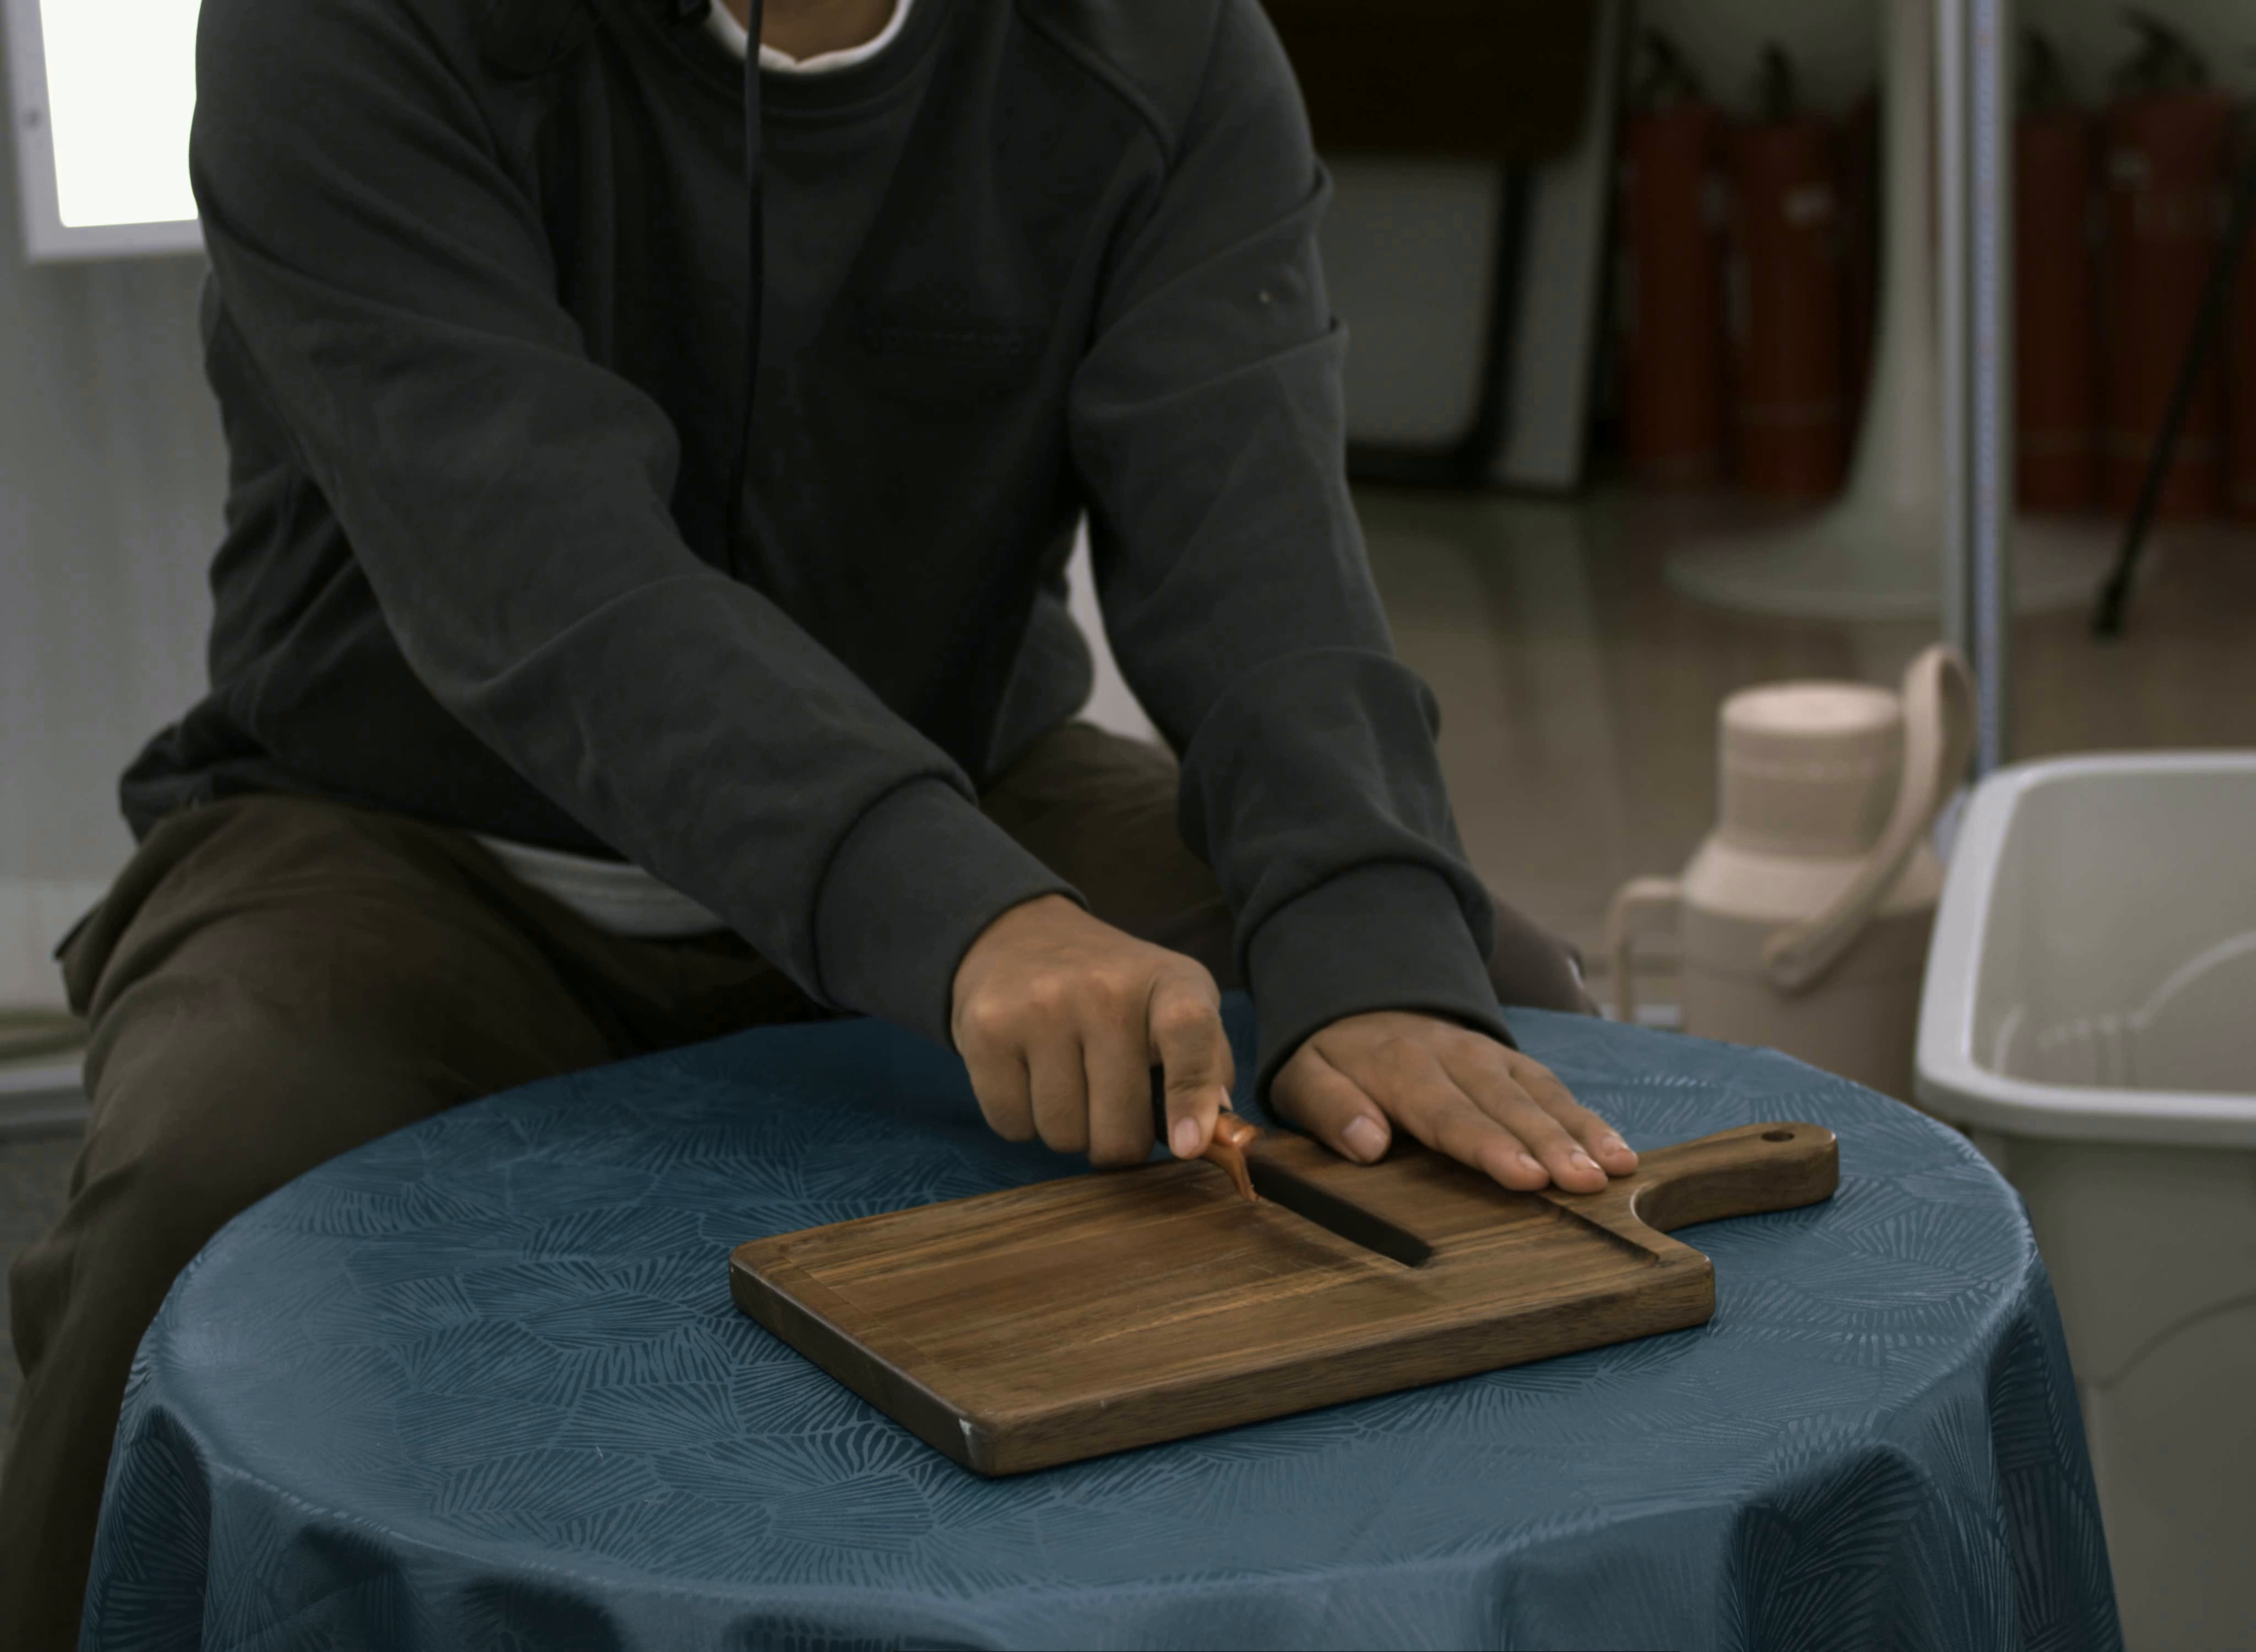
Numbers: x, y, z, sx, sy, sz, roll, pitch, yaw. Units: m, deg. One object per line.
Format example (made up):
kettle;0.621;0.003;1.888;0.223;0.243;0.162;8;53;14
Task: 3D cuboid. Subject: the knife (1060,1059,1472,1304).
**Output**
knife;0.041;0.110;1.690;0.017;0.026;0.228;-19;23;-27

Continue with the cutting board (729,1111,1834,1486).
cutting board;0.071;0.132;1.666;0.344;0.023;0.203;-10;15;-24
